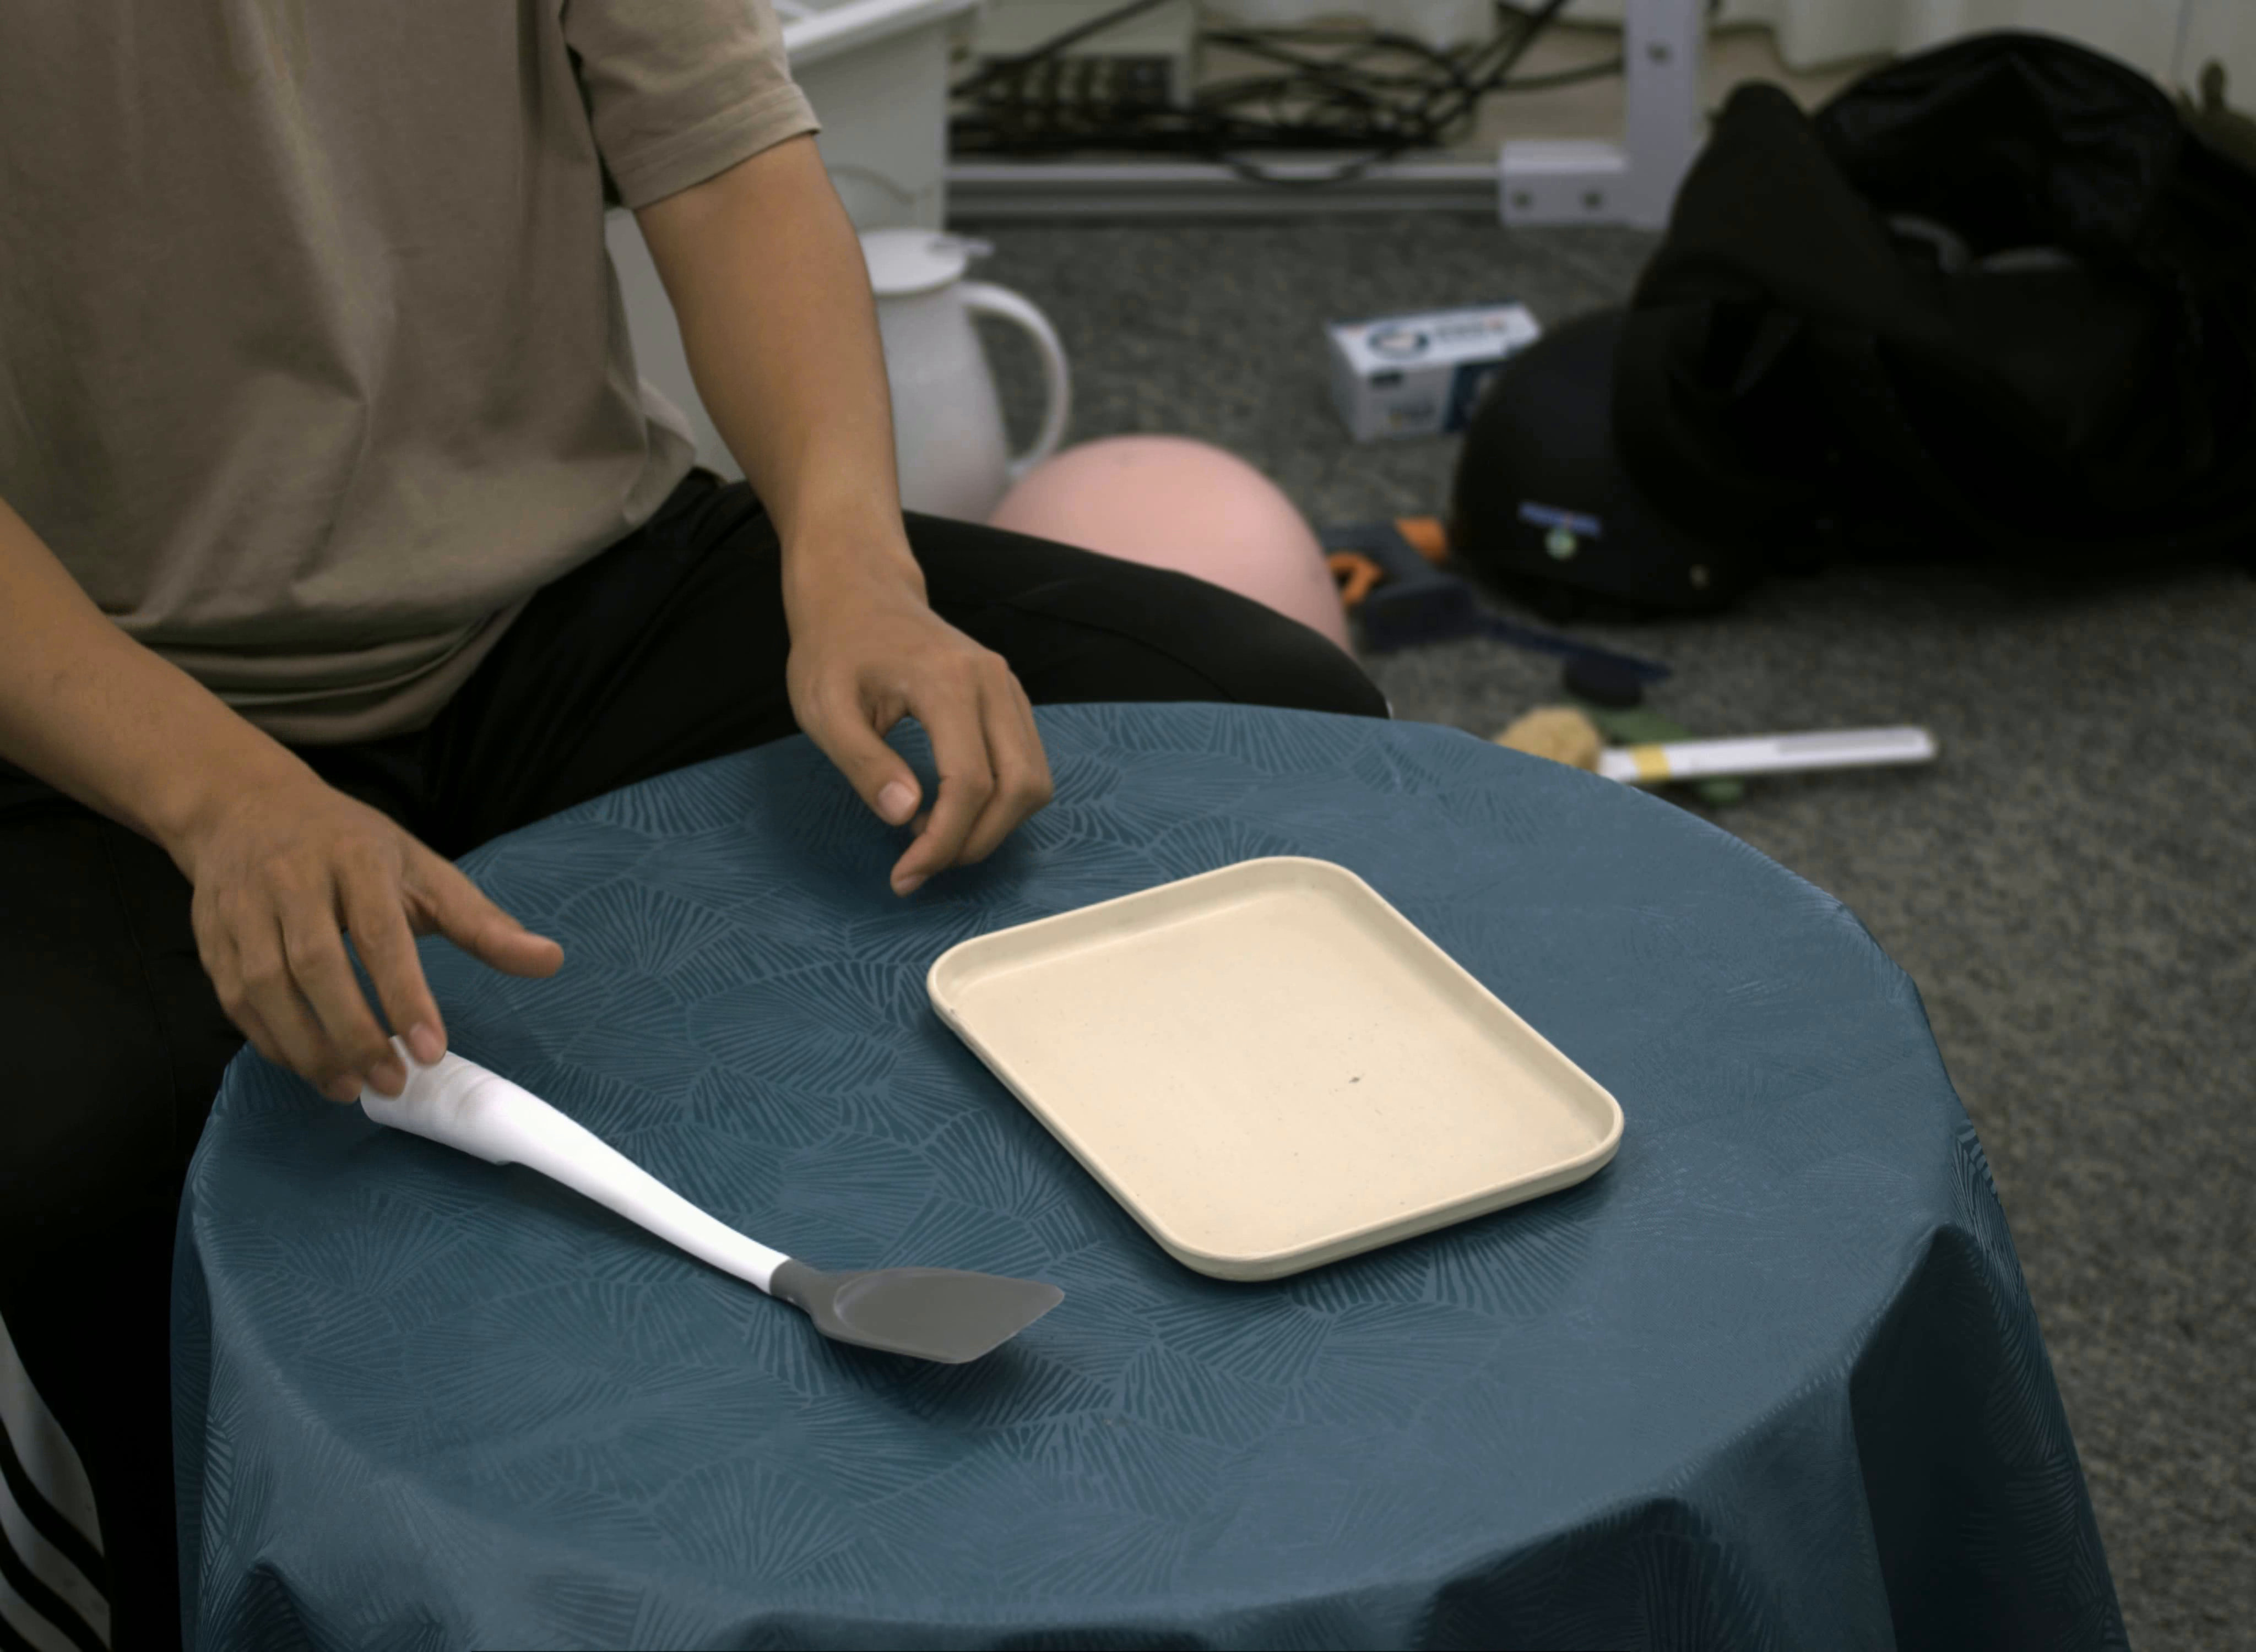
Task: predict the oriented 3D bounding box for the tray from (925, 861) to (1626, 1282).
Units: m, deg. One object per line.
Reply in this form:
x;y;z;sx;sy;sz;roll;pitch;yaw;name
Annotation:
0.047;0.082;1.915;0.172;0.017;0.241;-14;30;-23;tray

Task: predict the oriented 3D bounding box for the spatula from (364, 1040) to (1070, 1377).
-0.139;0.127;1.826;0.287;0.032;0.059;20;31;36;spatula
